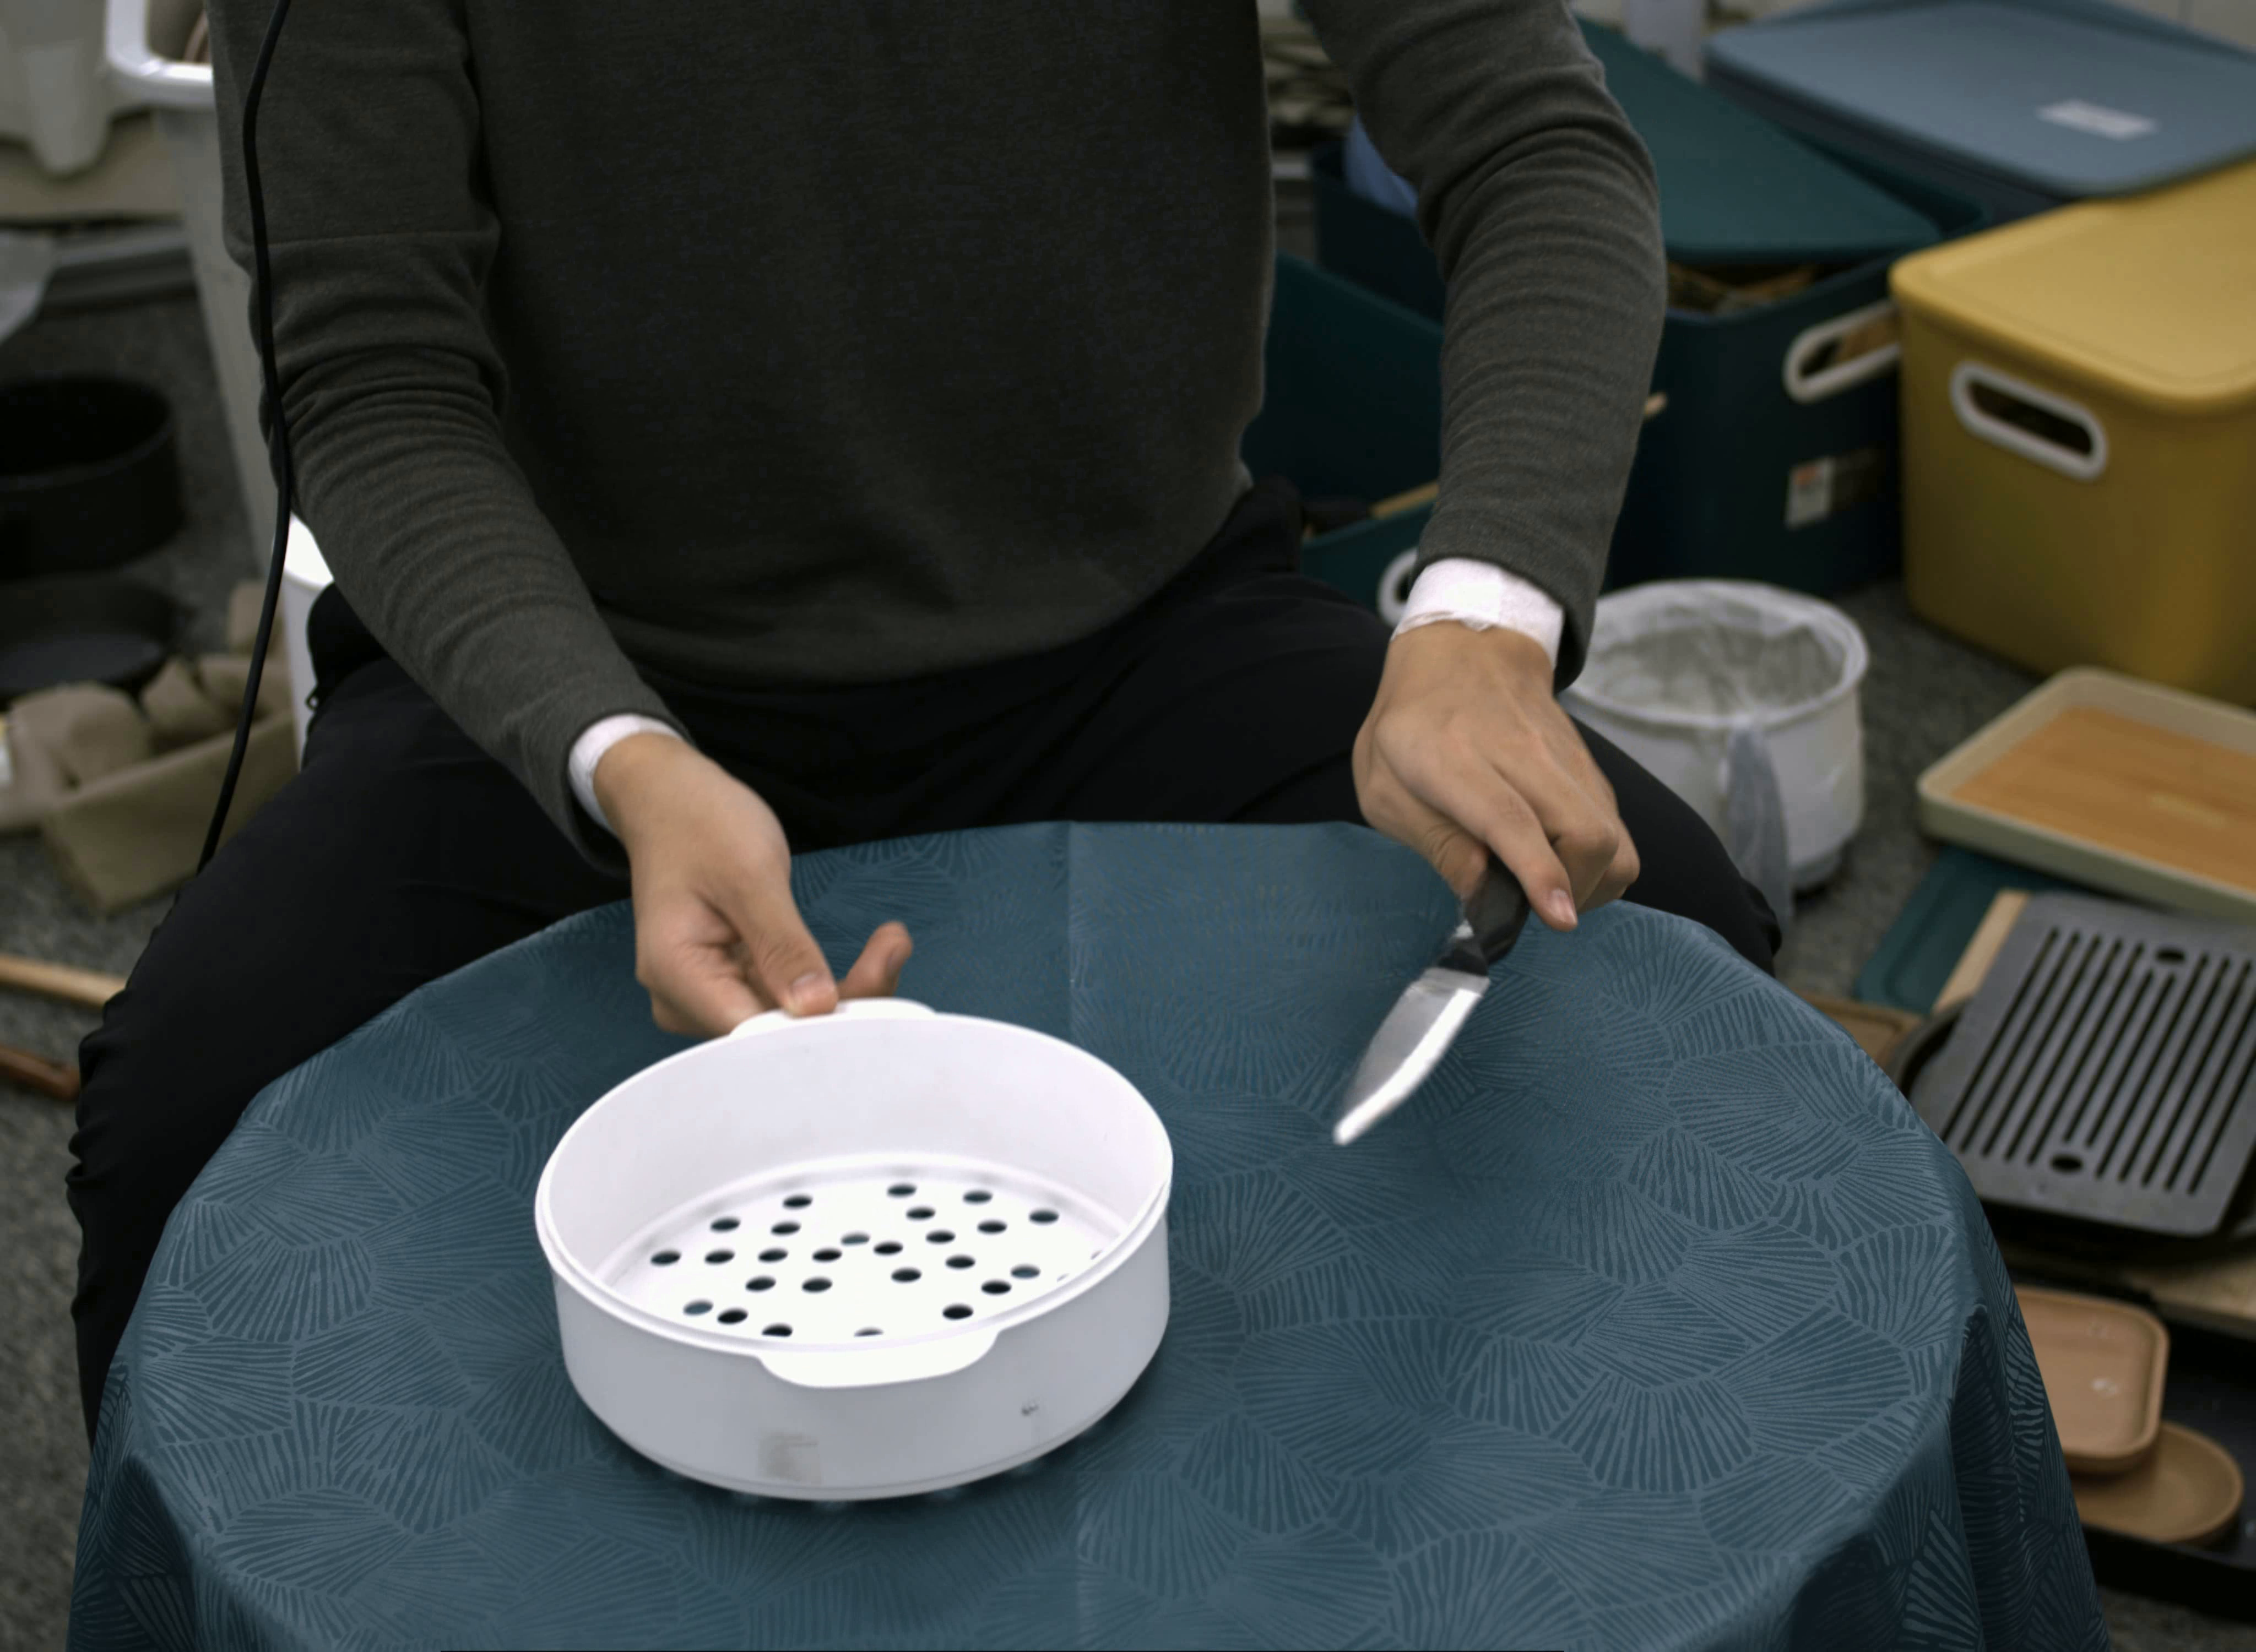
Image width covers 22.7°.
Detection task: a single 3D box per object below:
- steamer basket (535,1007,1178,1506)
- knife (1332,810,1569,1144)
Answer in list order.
[{"bbox_3d":[-0.084,0.137,1.766,0.201,0.068,0.233,-5,27,-5],"label":"steamer basket"},{"bbox_3d":[0.098,0.046,1.763,0.024,0.016,0.242,10,26,16],"label":"knife"}]
